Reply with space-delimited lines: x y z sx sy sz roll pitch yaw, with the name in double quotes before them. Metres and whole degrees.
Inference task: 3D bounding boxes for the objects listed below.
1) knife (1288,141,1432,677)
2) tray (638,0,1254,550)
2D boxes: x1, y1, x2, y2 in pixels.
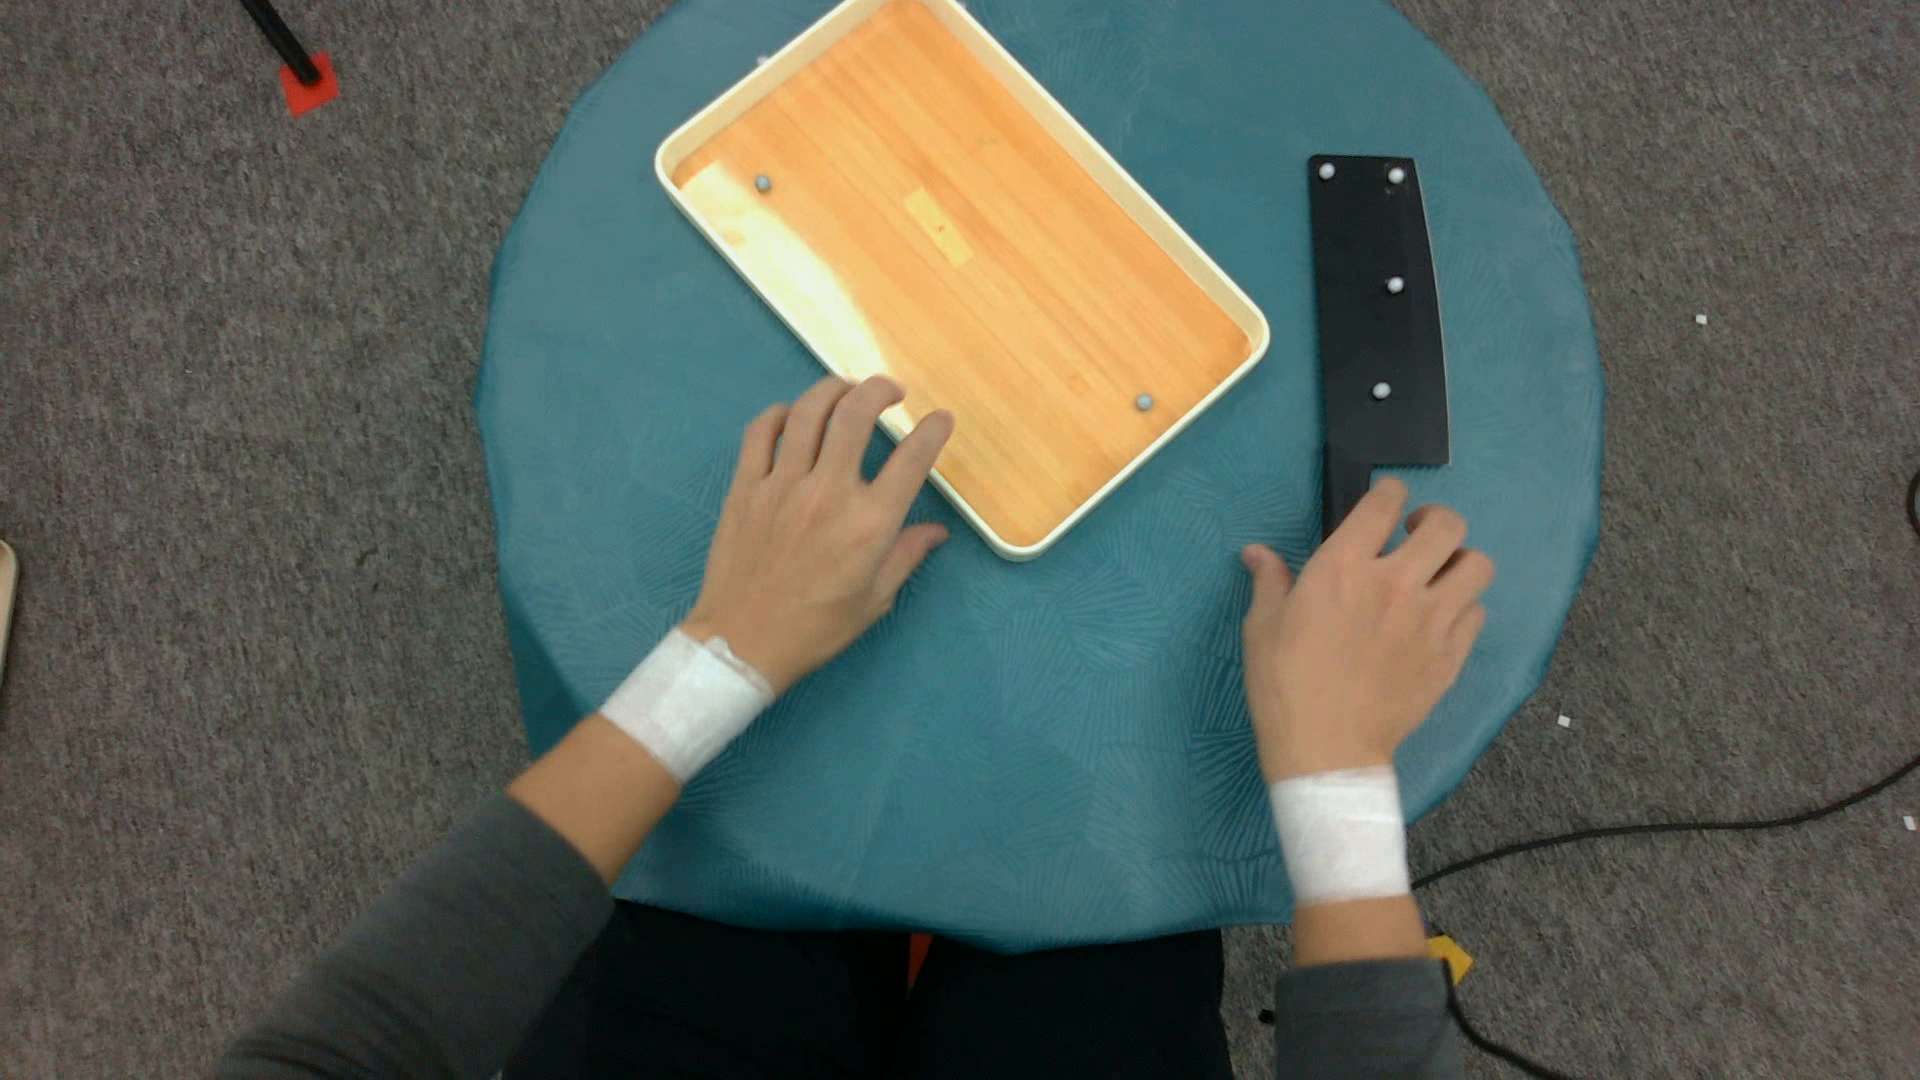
"knife" 0.213 -0.078 0.733 0.081 0.021 0.303 5 75 -2
"tray" -0.009 -0.159 0.737 0.192 0.027 0.300 -41 82 -10
